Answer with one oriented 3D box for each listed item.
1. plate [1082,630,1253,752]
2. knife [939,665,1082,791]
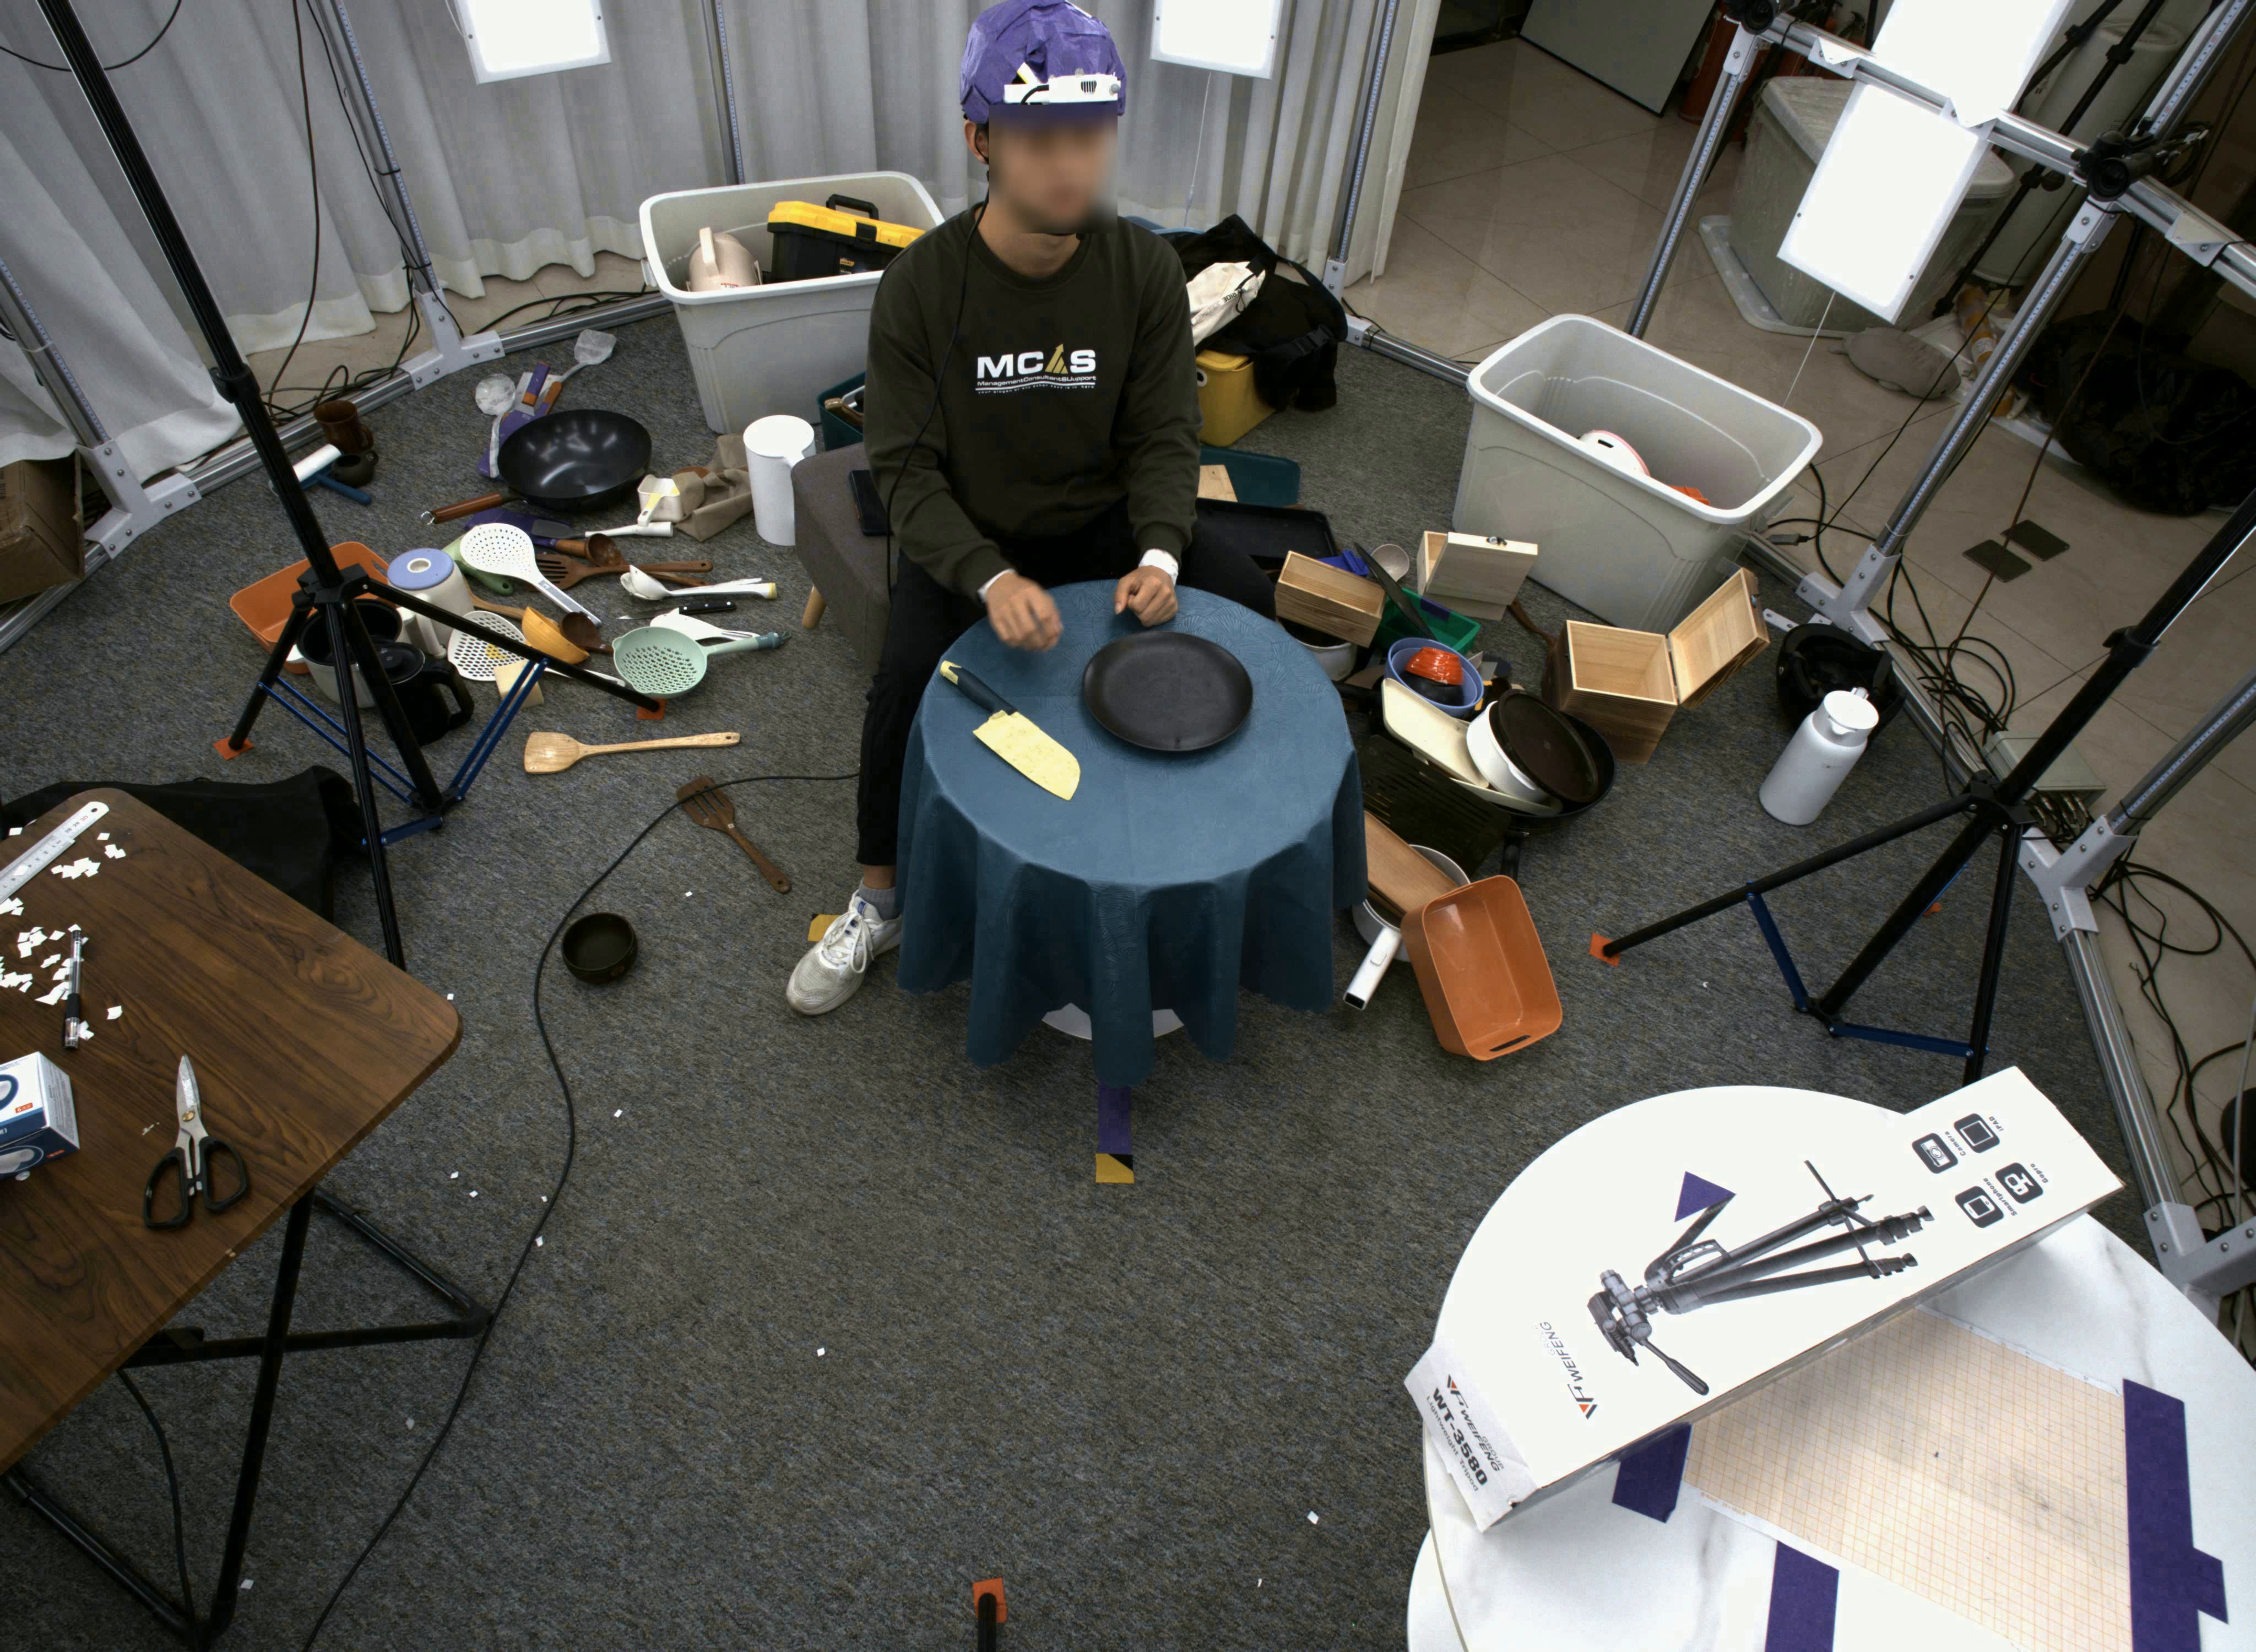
[{"bbox_3d":[0.056,-0.190,1.820,0.244,0.023,0.250,2,49,-2],"label":"plate"},{"bbox_3d":[-0.169,-0.133,1.762,0.082,0.026,0.294,-34,60,-30],"label":"knife"}]
